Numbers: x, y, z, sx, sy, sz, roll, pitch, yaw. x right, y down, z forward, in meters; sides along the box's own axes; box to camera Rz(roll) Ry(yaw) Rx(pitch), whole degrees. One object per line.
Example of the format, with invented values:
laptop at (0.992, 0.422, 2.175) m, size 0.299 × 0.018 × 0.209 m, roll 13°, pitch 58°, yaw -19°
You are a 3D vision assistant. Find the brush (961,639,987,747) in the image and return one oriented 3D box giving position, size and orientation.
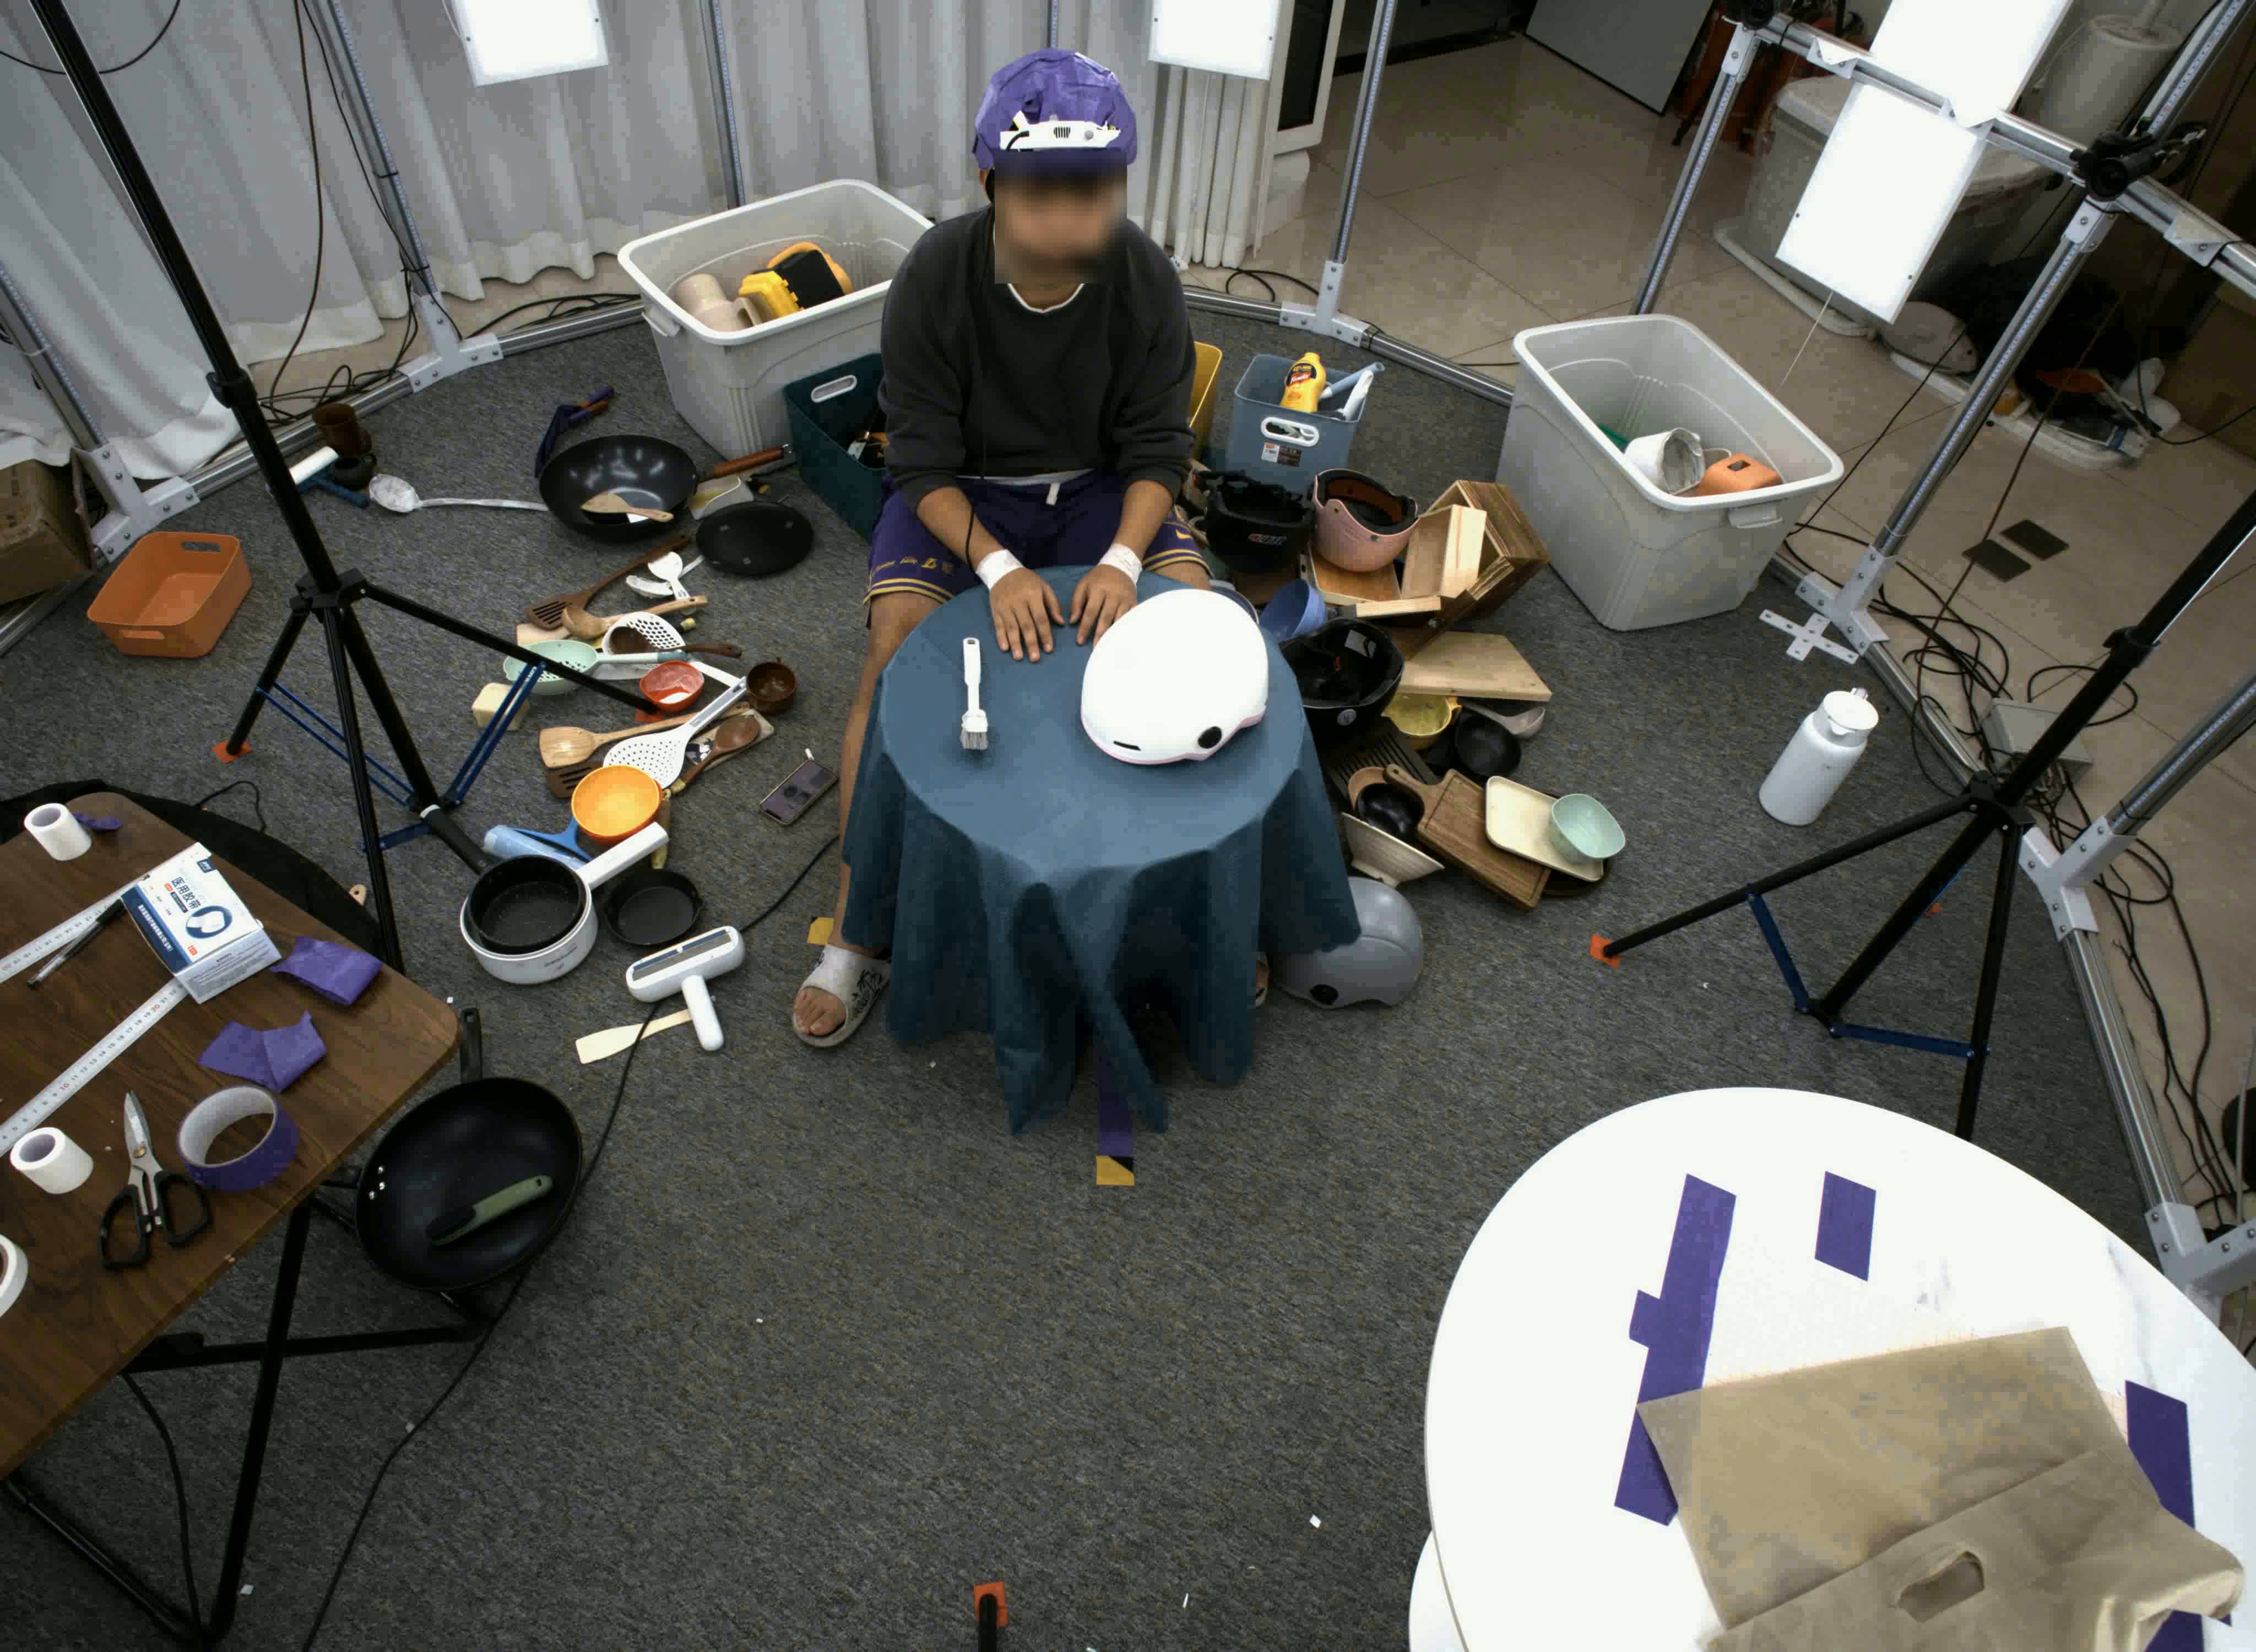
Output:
brush at (-0.218, -0.185, 1.797) m, size 0.034 × 0.049 × 0.249 m, roll 0°, pitch 36°, yaw -10°

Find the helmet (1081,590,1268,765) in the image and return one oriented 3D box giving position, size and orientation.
helmet at (0.068, -0.220, 1.756) m, size 0.270 × 0.163 × 0.242 m, roll -25°, pitch 55°, yaw -23°
